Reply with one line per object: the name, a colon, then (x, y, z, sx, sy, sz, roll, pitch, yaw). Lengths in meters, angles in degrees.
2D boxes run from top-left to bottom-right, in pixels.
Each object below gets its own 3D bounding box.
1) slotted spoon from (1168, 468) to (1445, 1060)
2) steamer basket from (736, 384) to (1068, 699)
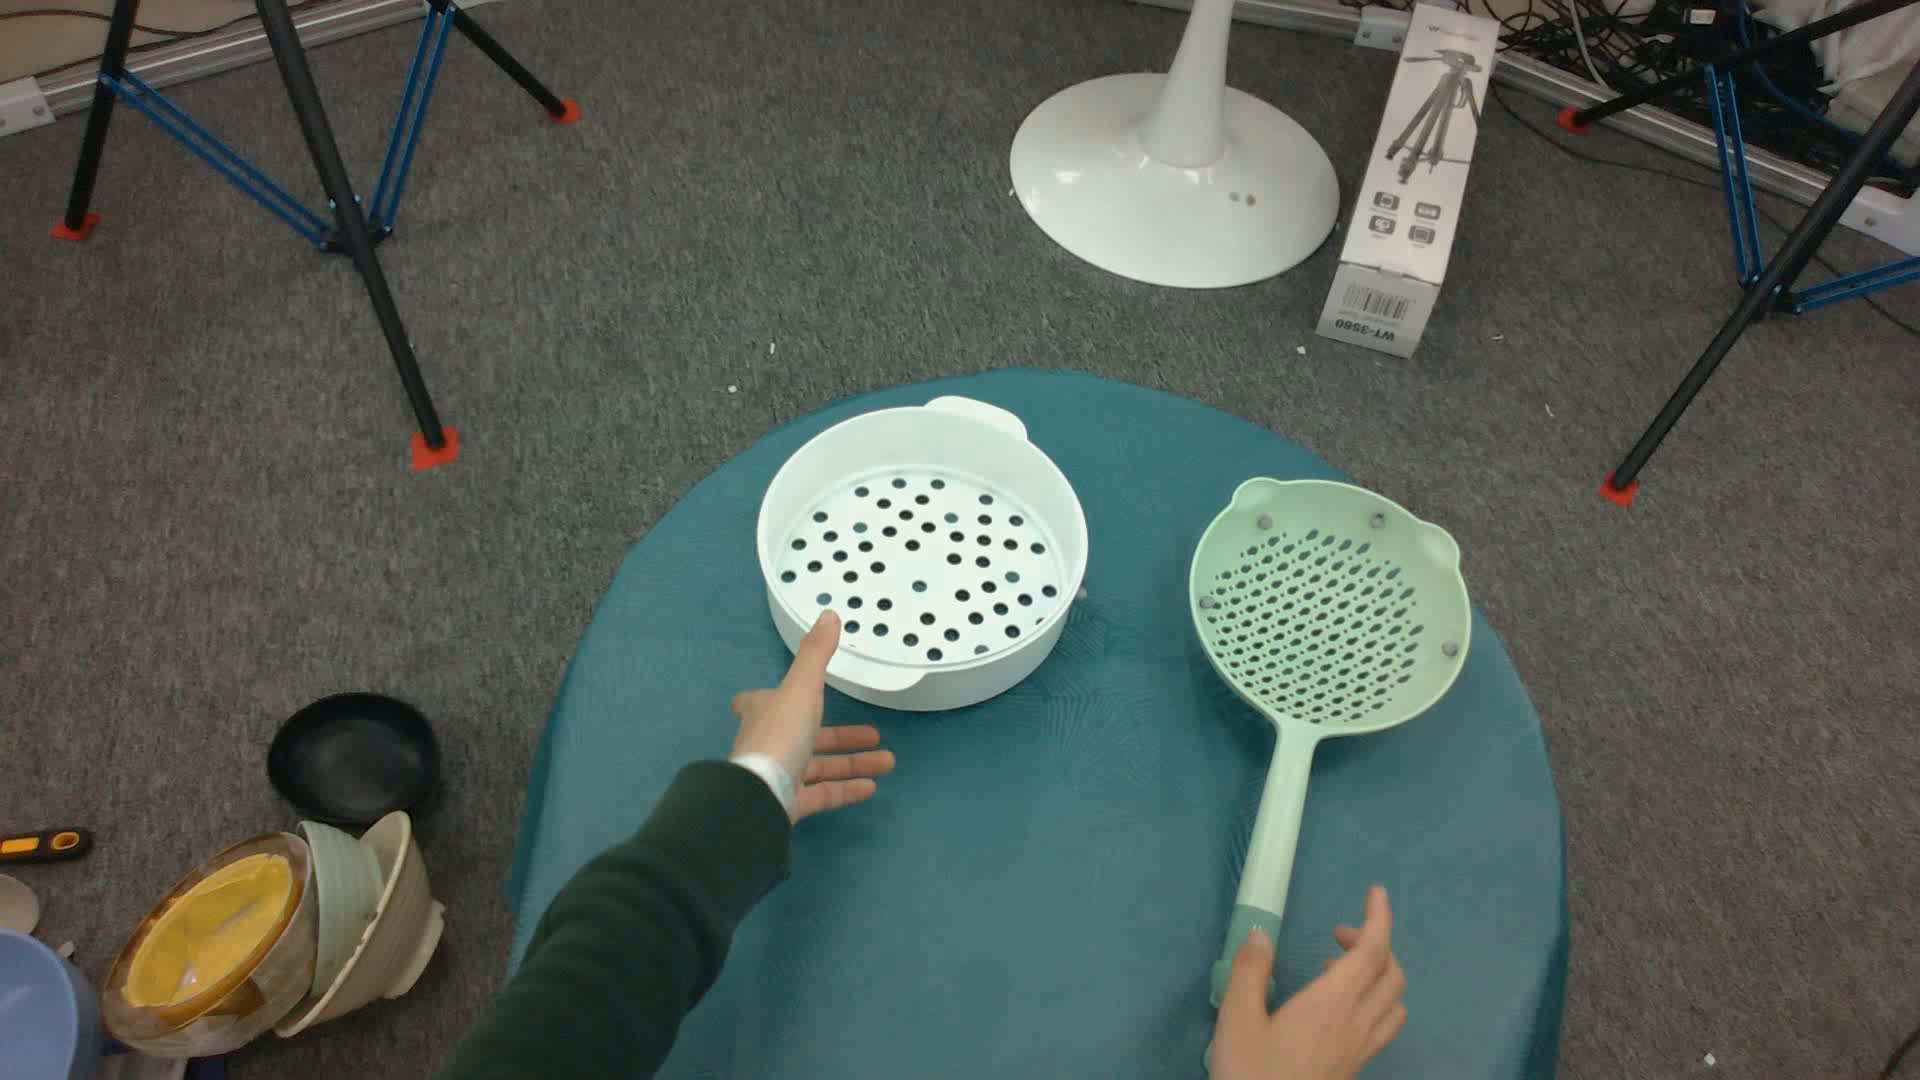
slotted spoon: (0.180, 0.116, 0.798, 0.169, 0.075, 0.360, 17, 53, 7)
steamer basket: (-0.036, 0.005, 0.859, 0.202, 0.069, 0.232, 16, 53, 7)
